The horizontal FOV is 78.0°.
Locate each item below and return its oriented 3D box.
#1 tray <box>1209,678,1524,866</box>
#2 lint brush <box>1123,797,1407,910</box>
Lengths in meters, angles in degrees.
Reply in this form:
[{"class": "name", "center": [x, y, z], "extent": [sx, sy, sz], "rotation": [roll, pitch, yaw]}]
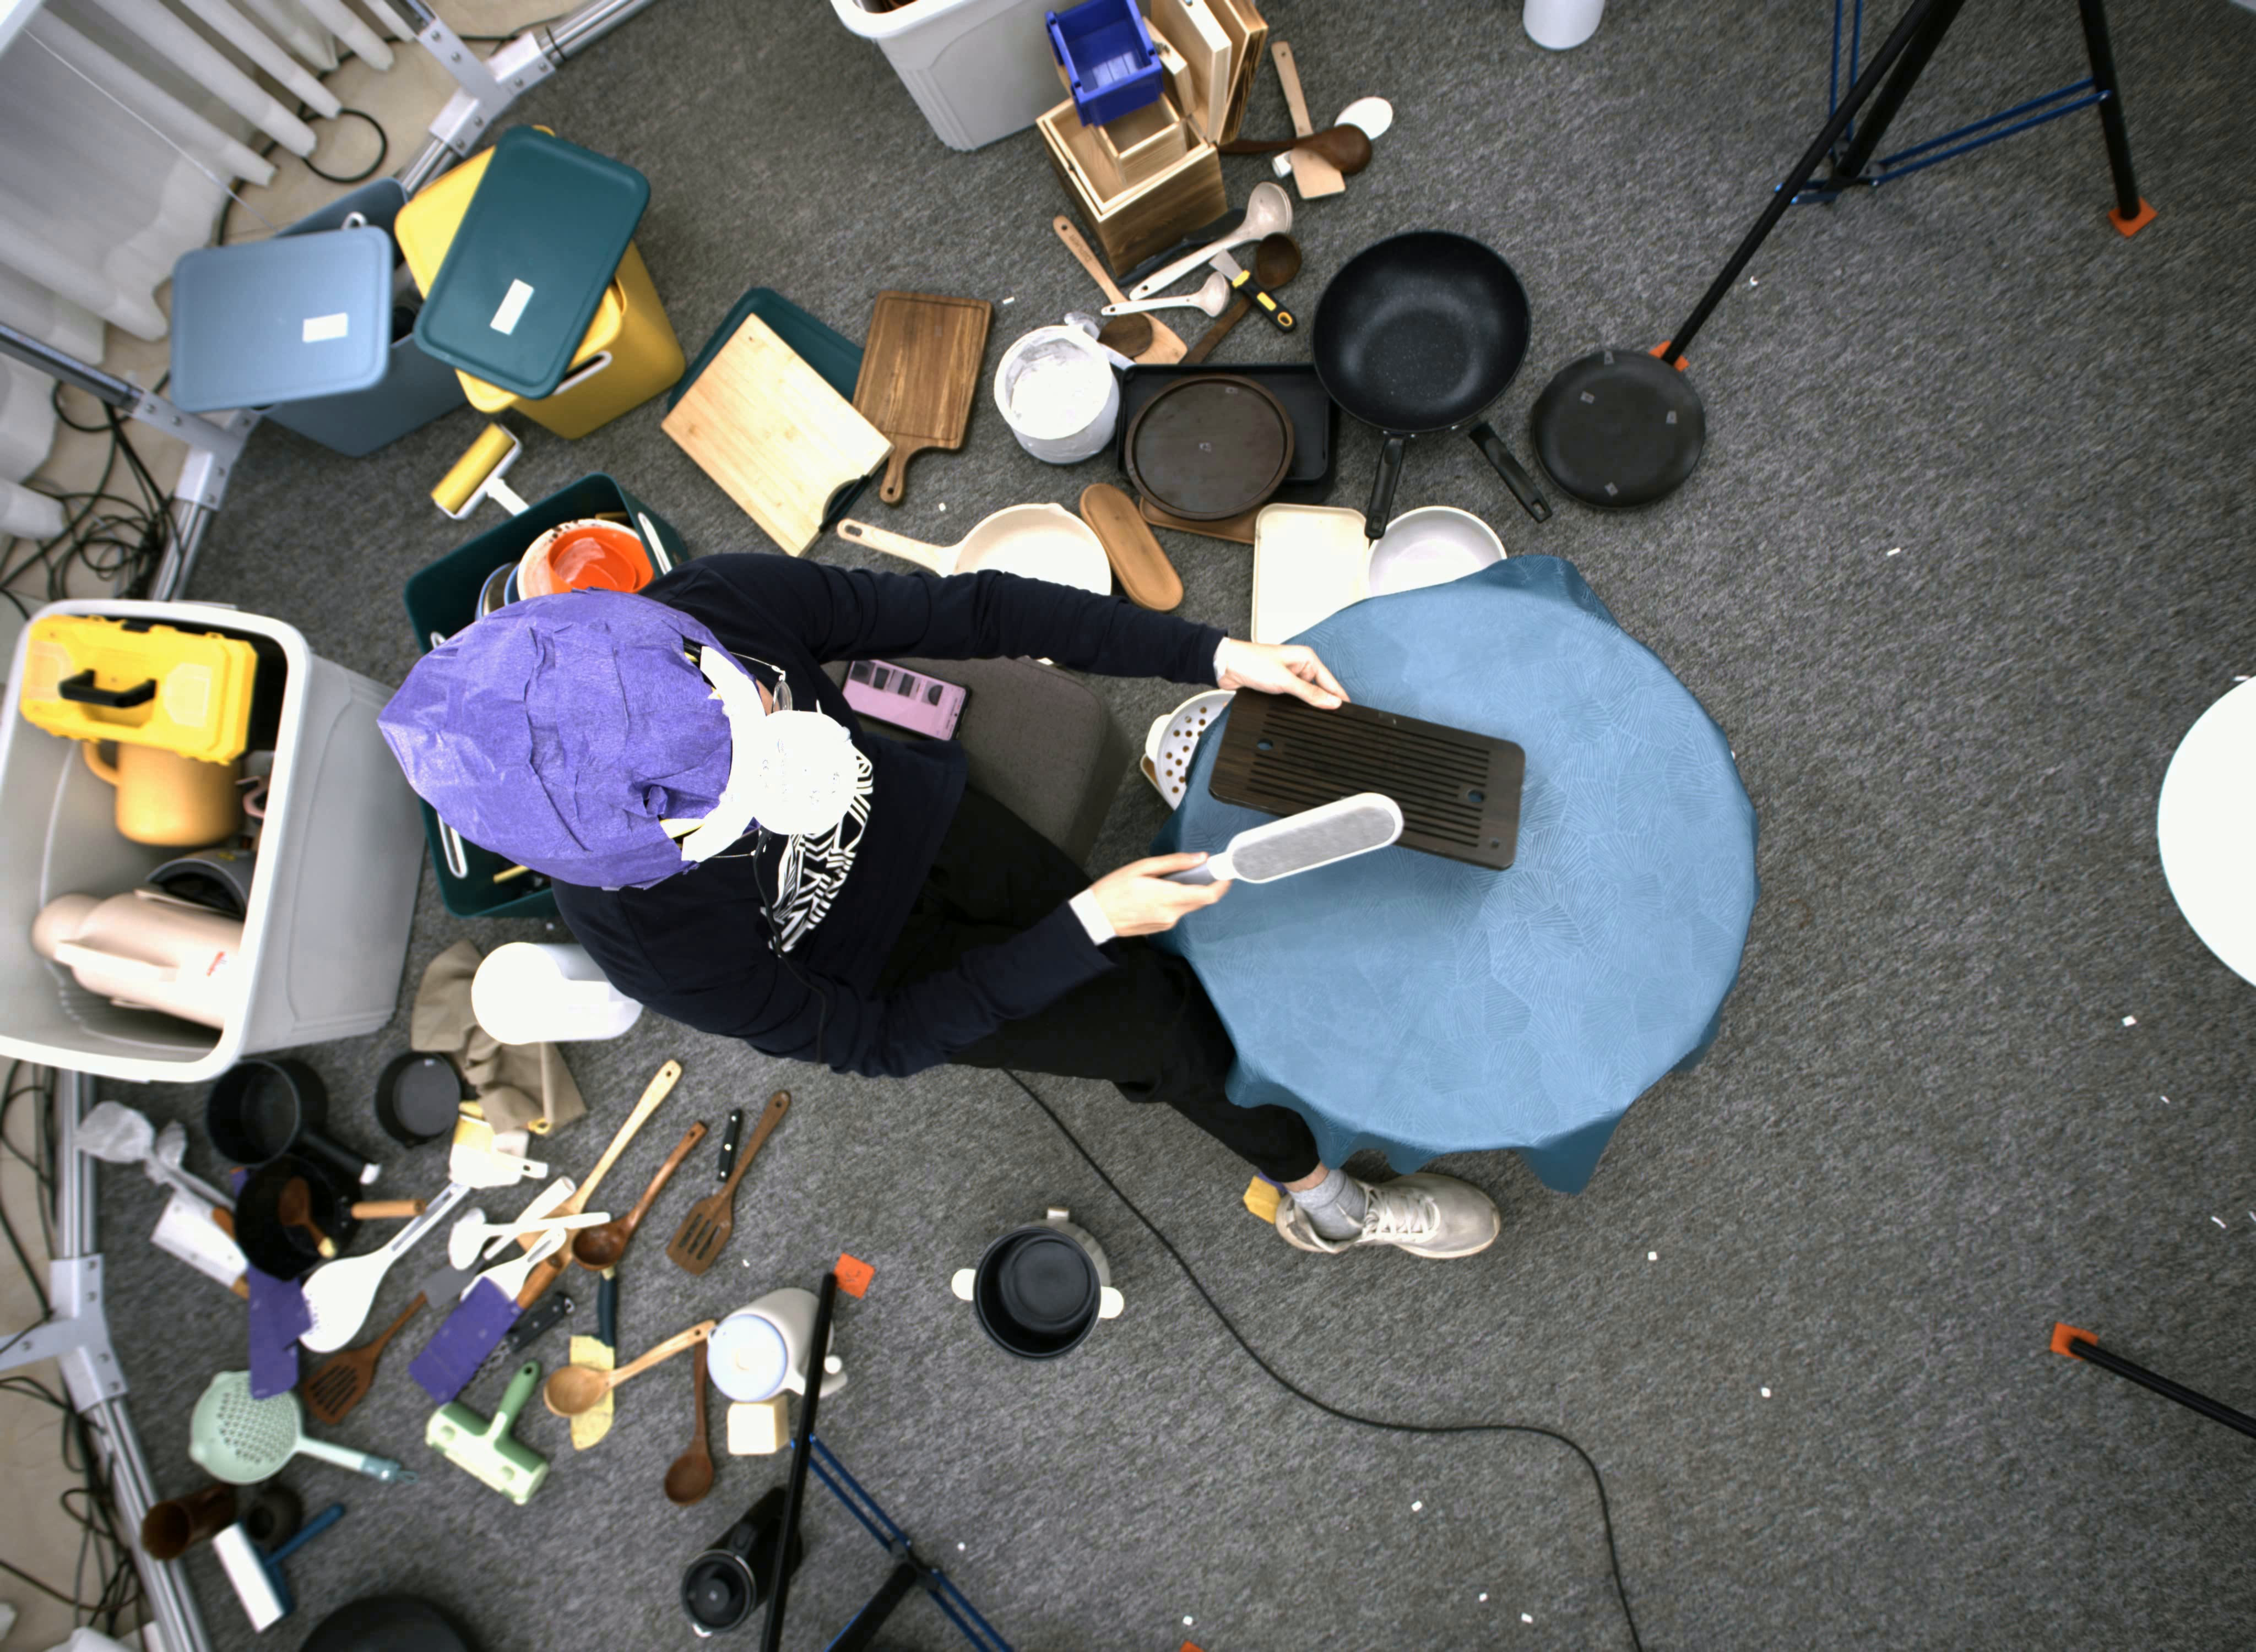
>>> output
[{"class": "tray", "center": [0.243, -0.057, 1.385], "extent": [0.306, 0.019, 0.165], "rotation": [13, 53, 5]}, {"class": "lint brush", "center": [0.128, 0.032, 1.361], "extent": [0.313, 0.020, 0.061], "rotation": [-19, 124, 27]}]
